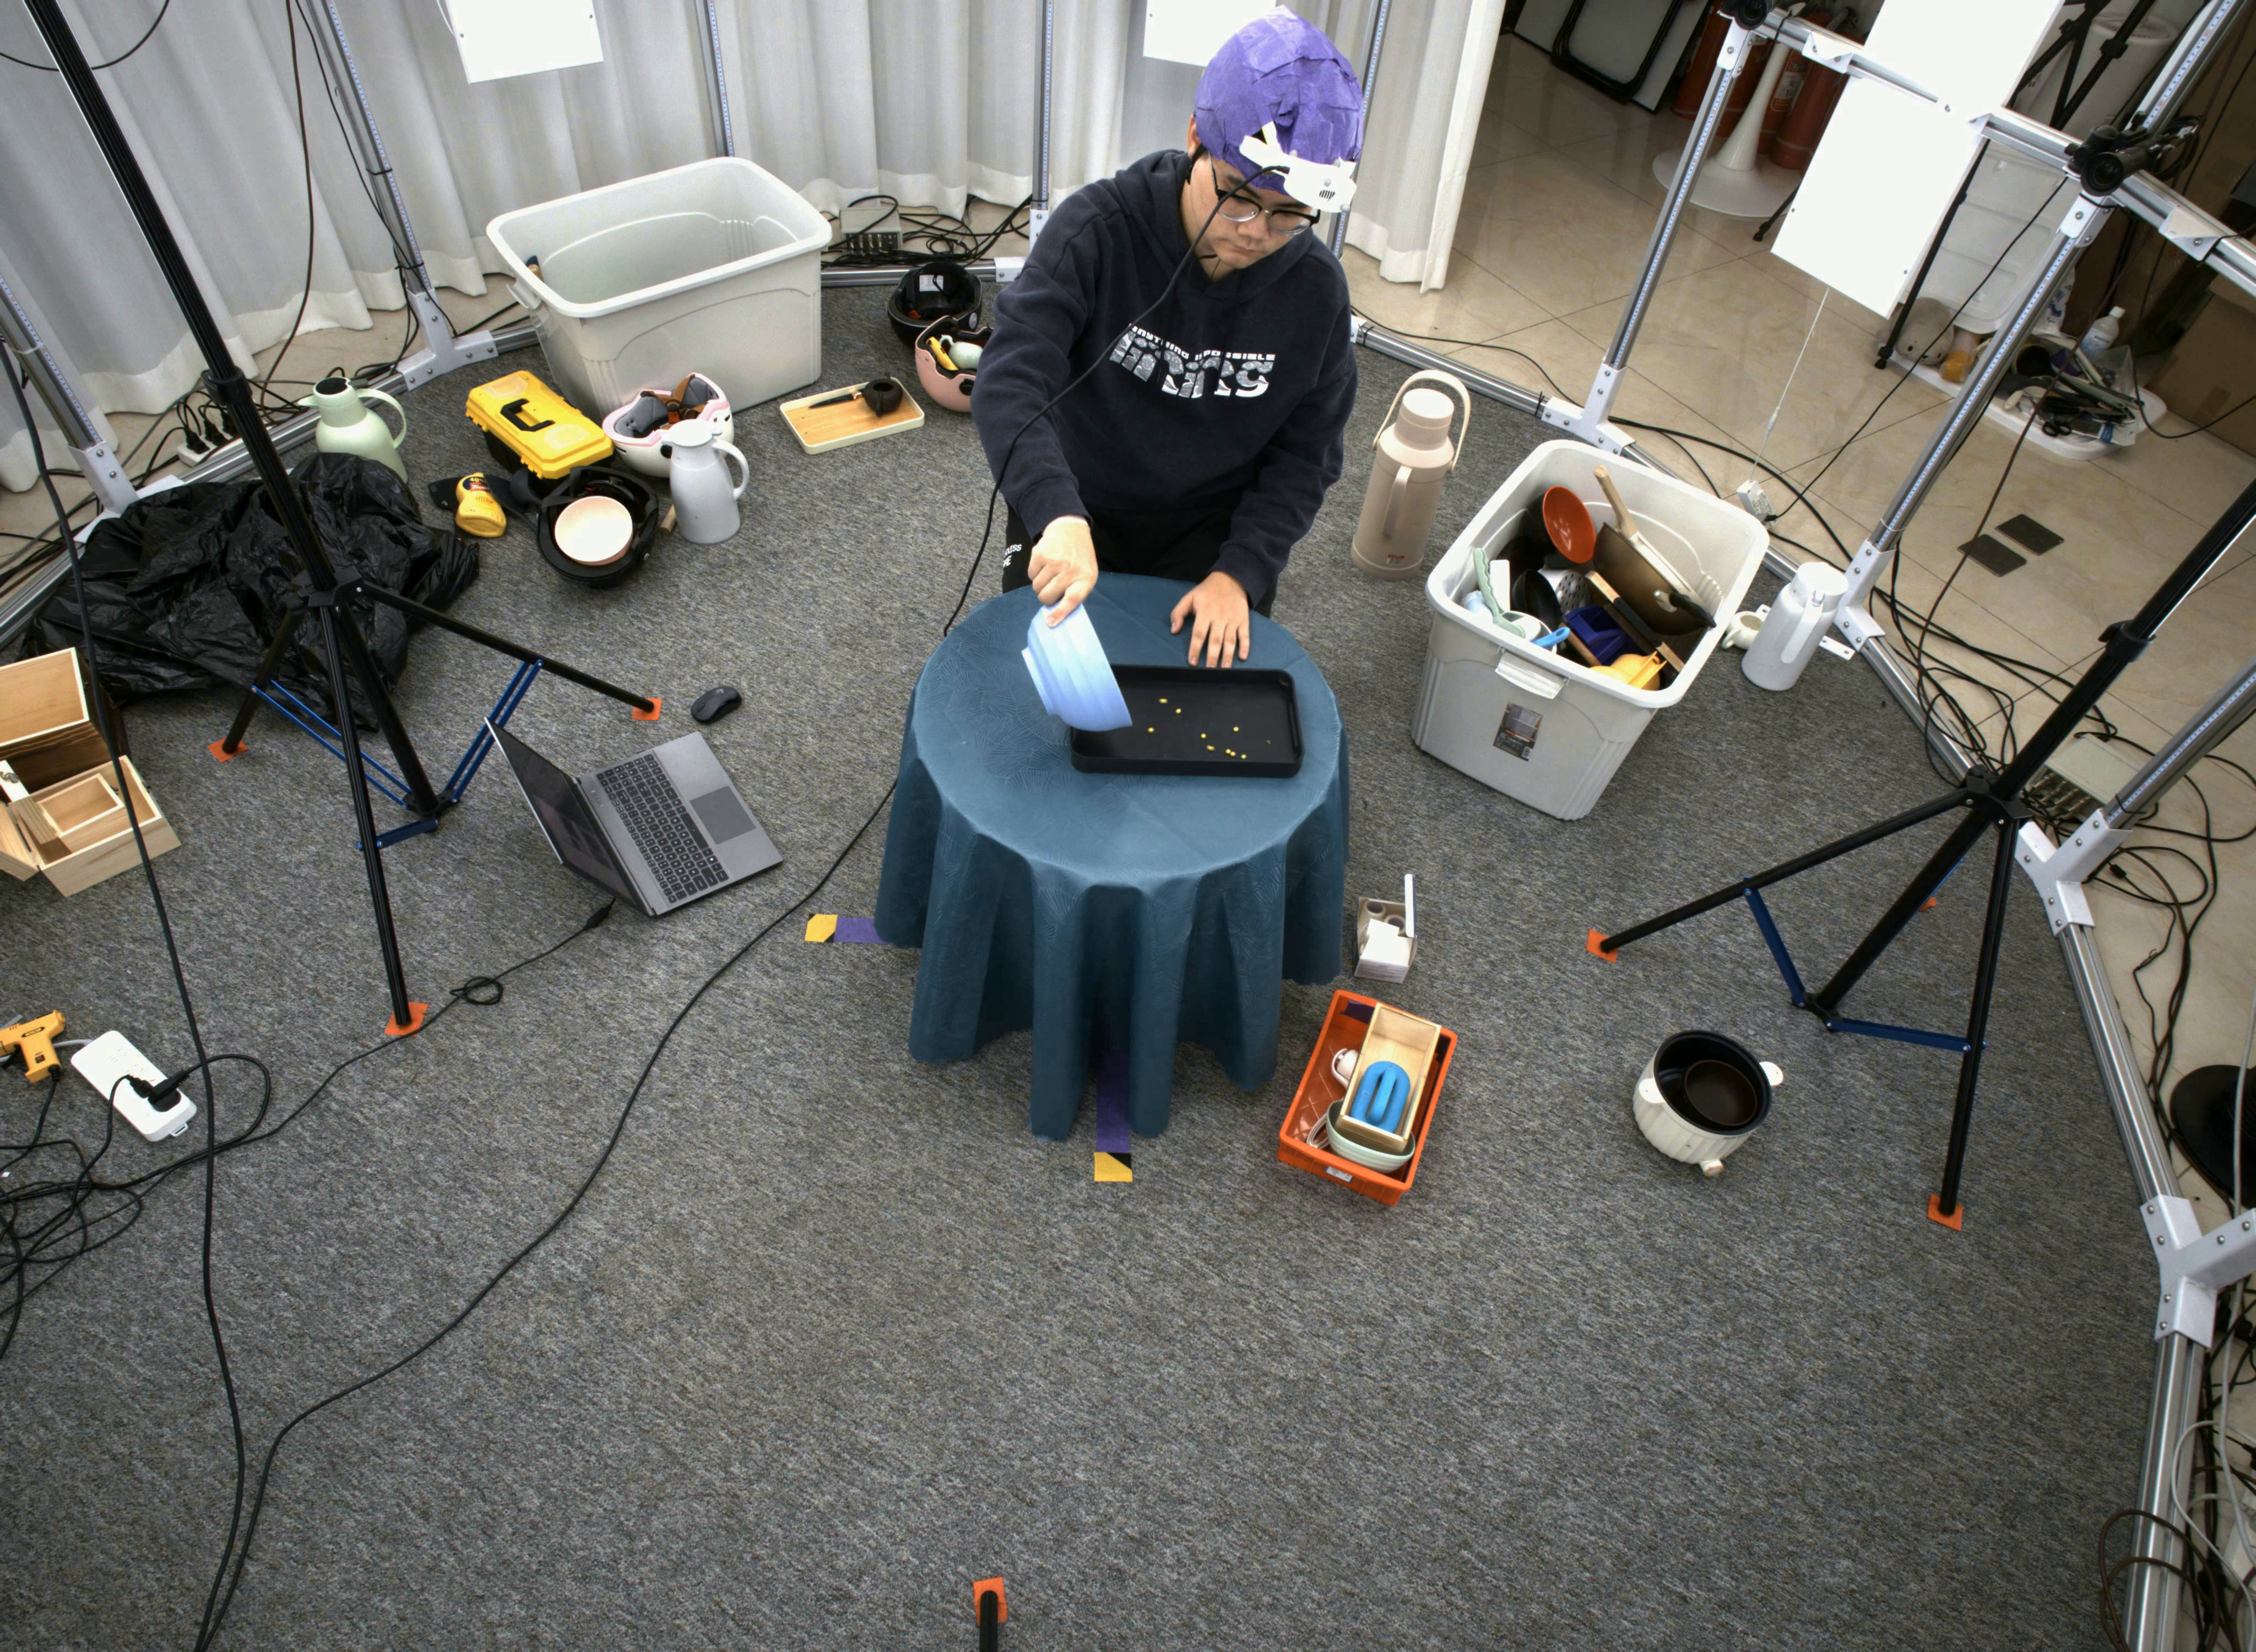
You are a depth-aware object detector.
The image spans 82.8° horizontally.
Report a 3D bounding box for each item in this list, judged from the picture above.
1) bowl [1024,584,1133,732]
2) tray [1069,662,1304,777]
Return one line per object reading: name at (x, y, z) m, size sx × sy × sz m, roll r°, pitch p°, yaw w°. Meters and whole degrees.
bowl at (-0.073, -0.202, 1.648) m, size 0.095 × 0.192 × 0.201 m, roll -22°, pitch 52°, yaw 2°
tray at (0.076, -0.149, 1.776) m, size 0.317 × 0.036 × 0.189 m, roll 2°, pitch 49°, yaw -3°
